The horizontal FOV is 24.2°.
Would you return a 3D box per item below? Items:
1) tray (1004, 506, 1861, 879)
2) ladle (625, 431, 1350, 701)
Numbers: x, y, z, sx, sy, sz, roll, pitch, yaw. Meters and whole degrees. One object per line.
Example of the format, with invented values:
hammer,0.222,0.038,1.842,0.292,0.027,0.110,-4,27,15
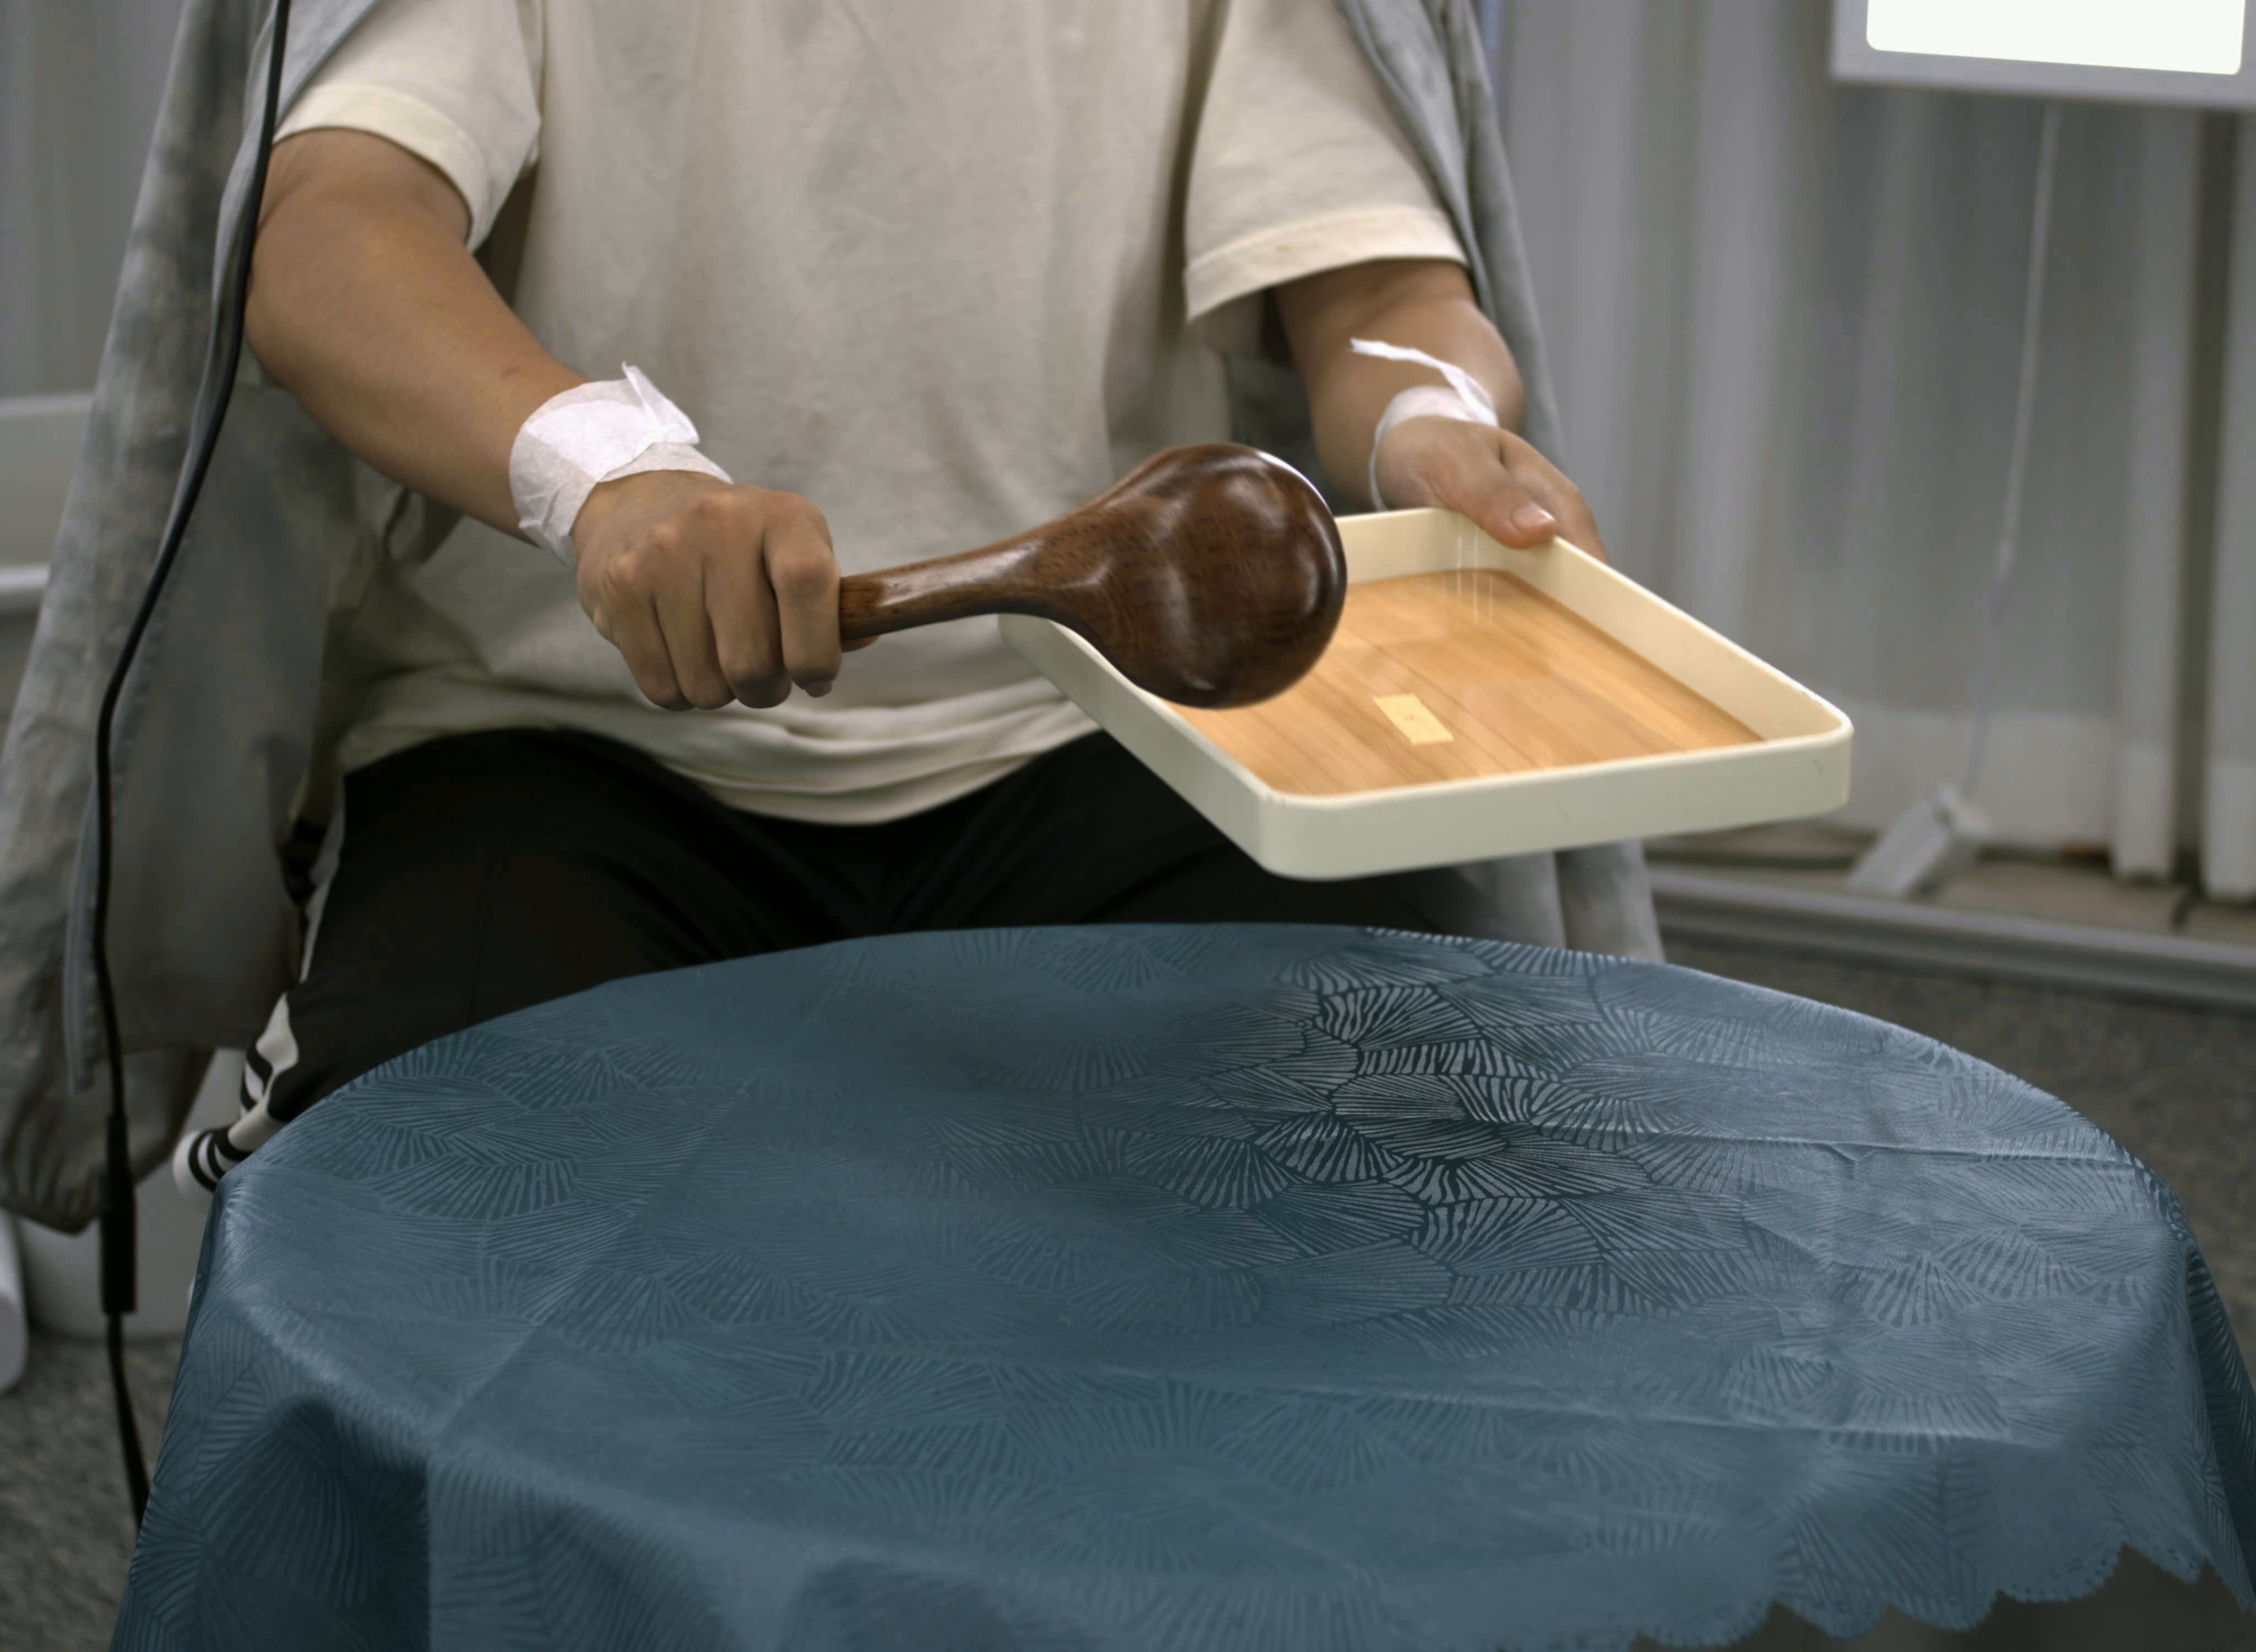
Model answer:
tray,0.089,-0.047,1.682,0.192,0.027,0.297,-7,19,-17
ladle,-0.045,-0.068,1.631,0.077,0.082,0.271,22,-20,-38
